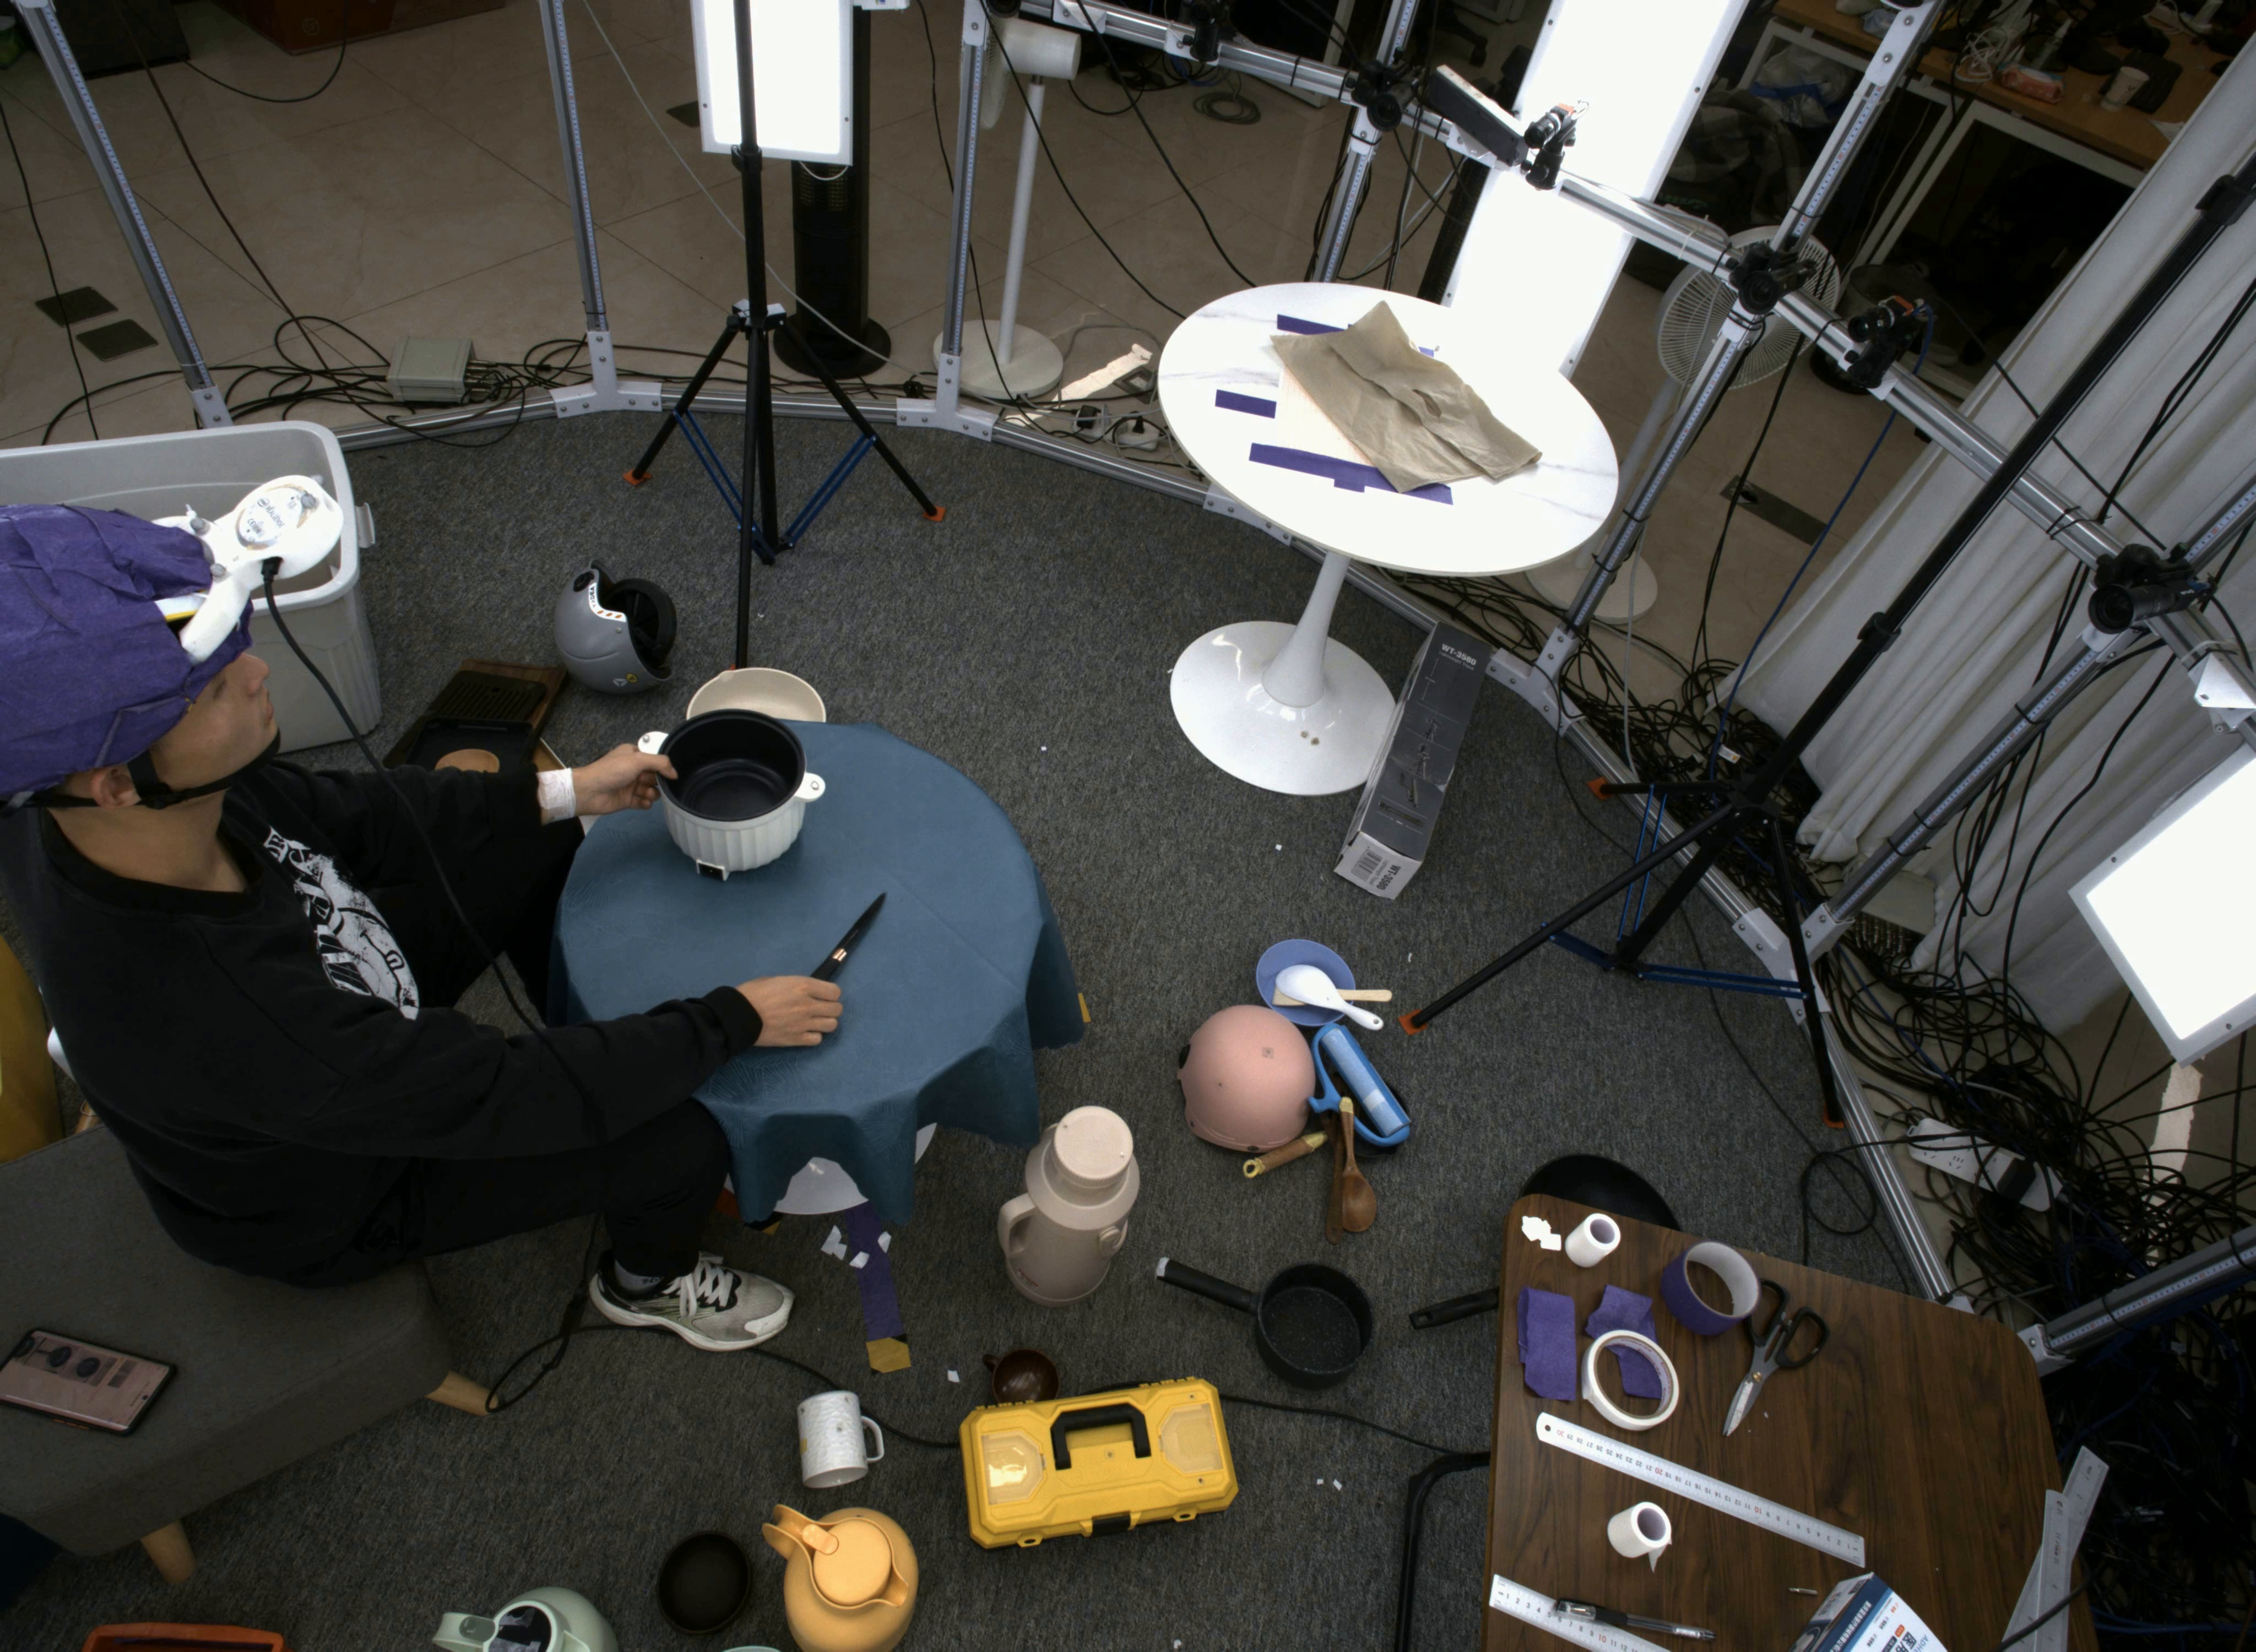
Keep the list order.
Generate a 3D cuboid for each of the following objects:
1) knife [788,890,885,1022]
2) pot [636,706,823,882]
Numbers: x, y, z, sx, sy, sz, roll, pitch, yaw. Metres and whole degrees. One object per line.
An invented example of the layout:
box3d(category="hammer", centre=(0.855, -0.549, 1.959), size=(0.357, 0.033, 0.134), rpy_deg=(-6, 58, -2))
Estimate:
box3d(category="knife", centre=(-0.357, 0.155, 1.615), size=(0.025, 0.018, 0.224), rpy_deg=(-1, 40, 32))
box3d(category="pot", centre=(-0.503, -0.044, 1.644), size=(0.239, 0.145, 0.188), rpy_deg=(15, 54, -4))
